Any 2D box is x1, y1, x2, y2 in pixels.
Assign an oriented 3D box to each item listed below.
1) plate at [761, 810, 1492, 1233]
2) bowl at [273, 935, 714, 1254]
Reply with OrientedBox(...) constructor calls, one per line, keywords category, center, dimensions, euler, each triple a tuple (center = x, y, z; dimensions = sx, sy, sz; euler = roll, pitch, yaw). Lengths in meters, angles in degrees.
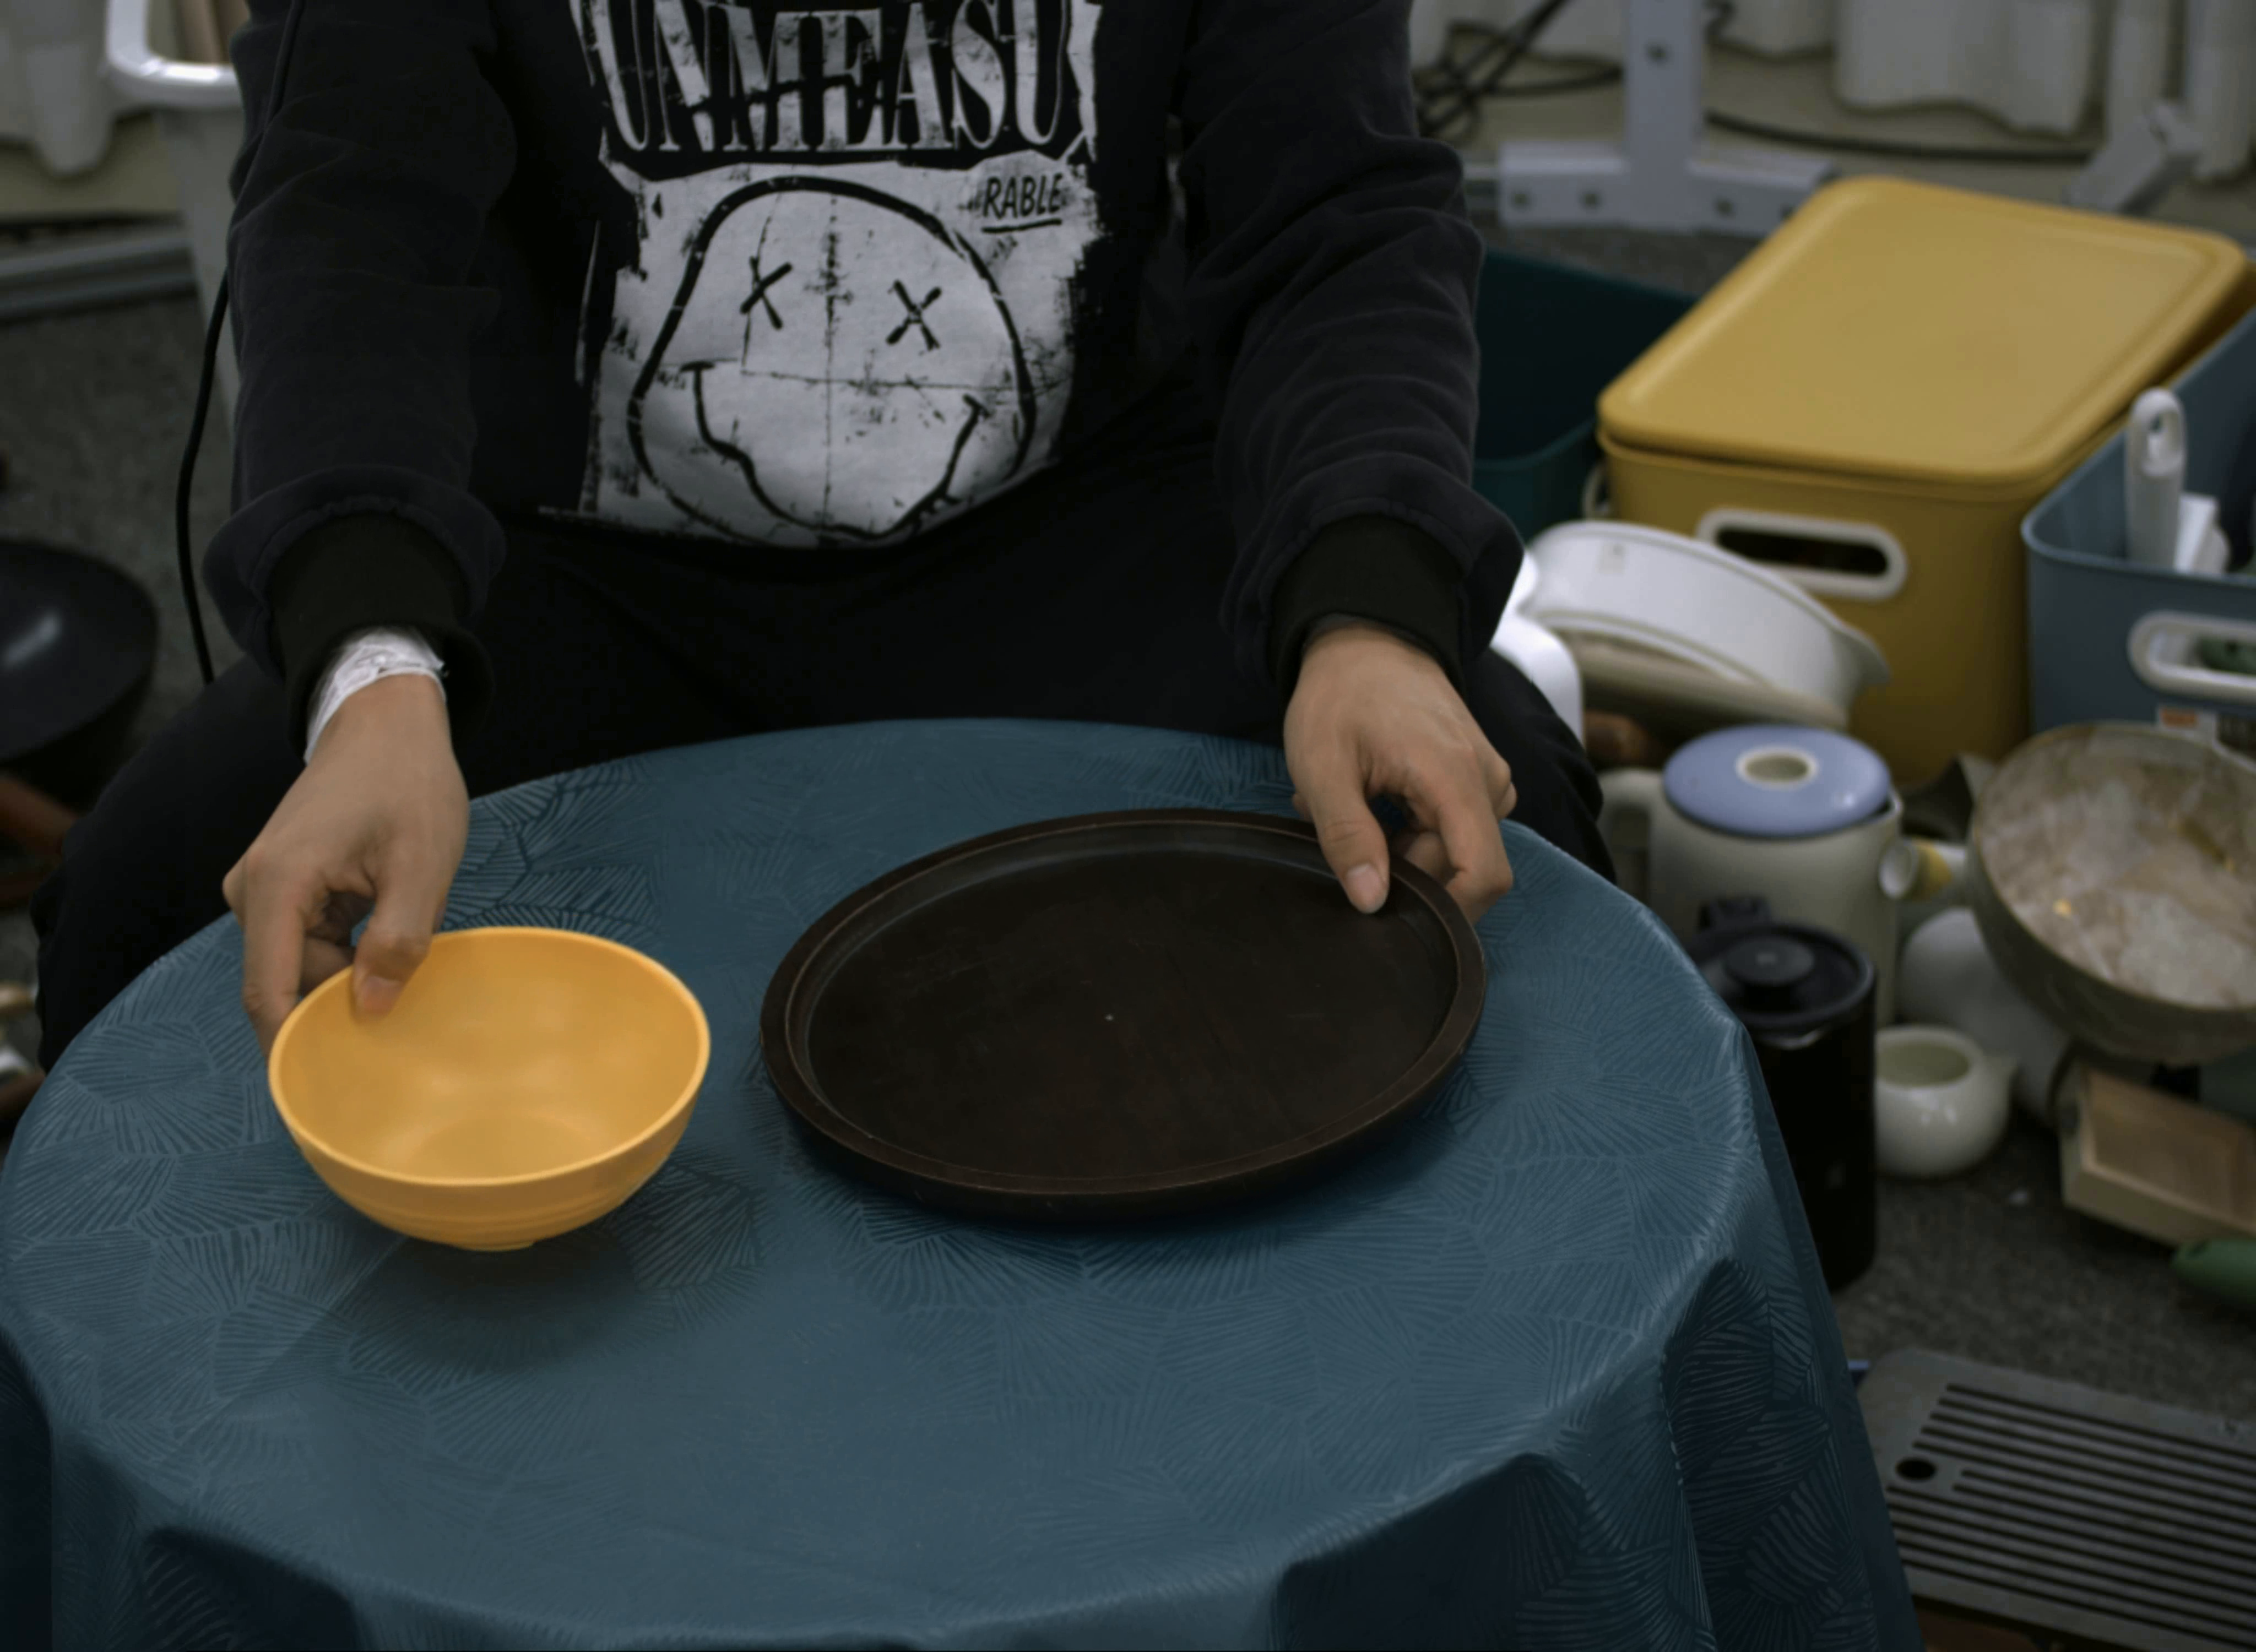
OrientedBox(category="plate", center=(0.000, 0.066, 1.935), dimensions=(0.253, 0.029, 0.259), euler=(-5, 28, 3))
OrientedBox(category="bowl", center=(-0.208, 0.099, 1.855), dimensions=(0.144, 0.059, 0.148), euler=(1, 31, 0))
